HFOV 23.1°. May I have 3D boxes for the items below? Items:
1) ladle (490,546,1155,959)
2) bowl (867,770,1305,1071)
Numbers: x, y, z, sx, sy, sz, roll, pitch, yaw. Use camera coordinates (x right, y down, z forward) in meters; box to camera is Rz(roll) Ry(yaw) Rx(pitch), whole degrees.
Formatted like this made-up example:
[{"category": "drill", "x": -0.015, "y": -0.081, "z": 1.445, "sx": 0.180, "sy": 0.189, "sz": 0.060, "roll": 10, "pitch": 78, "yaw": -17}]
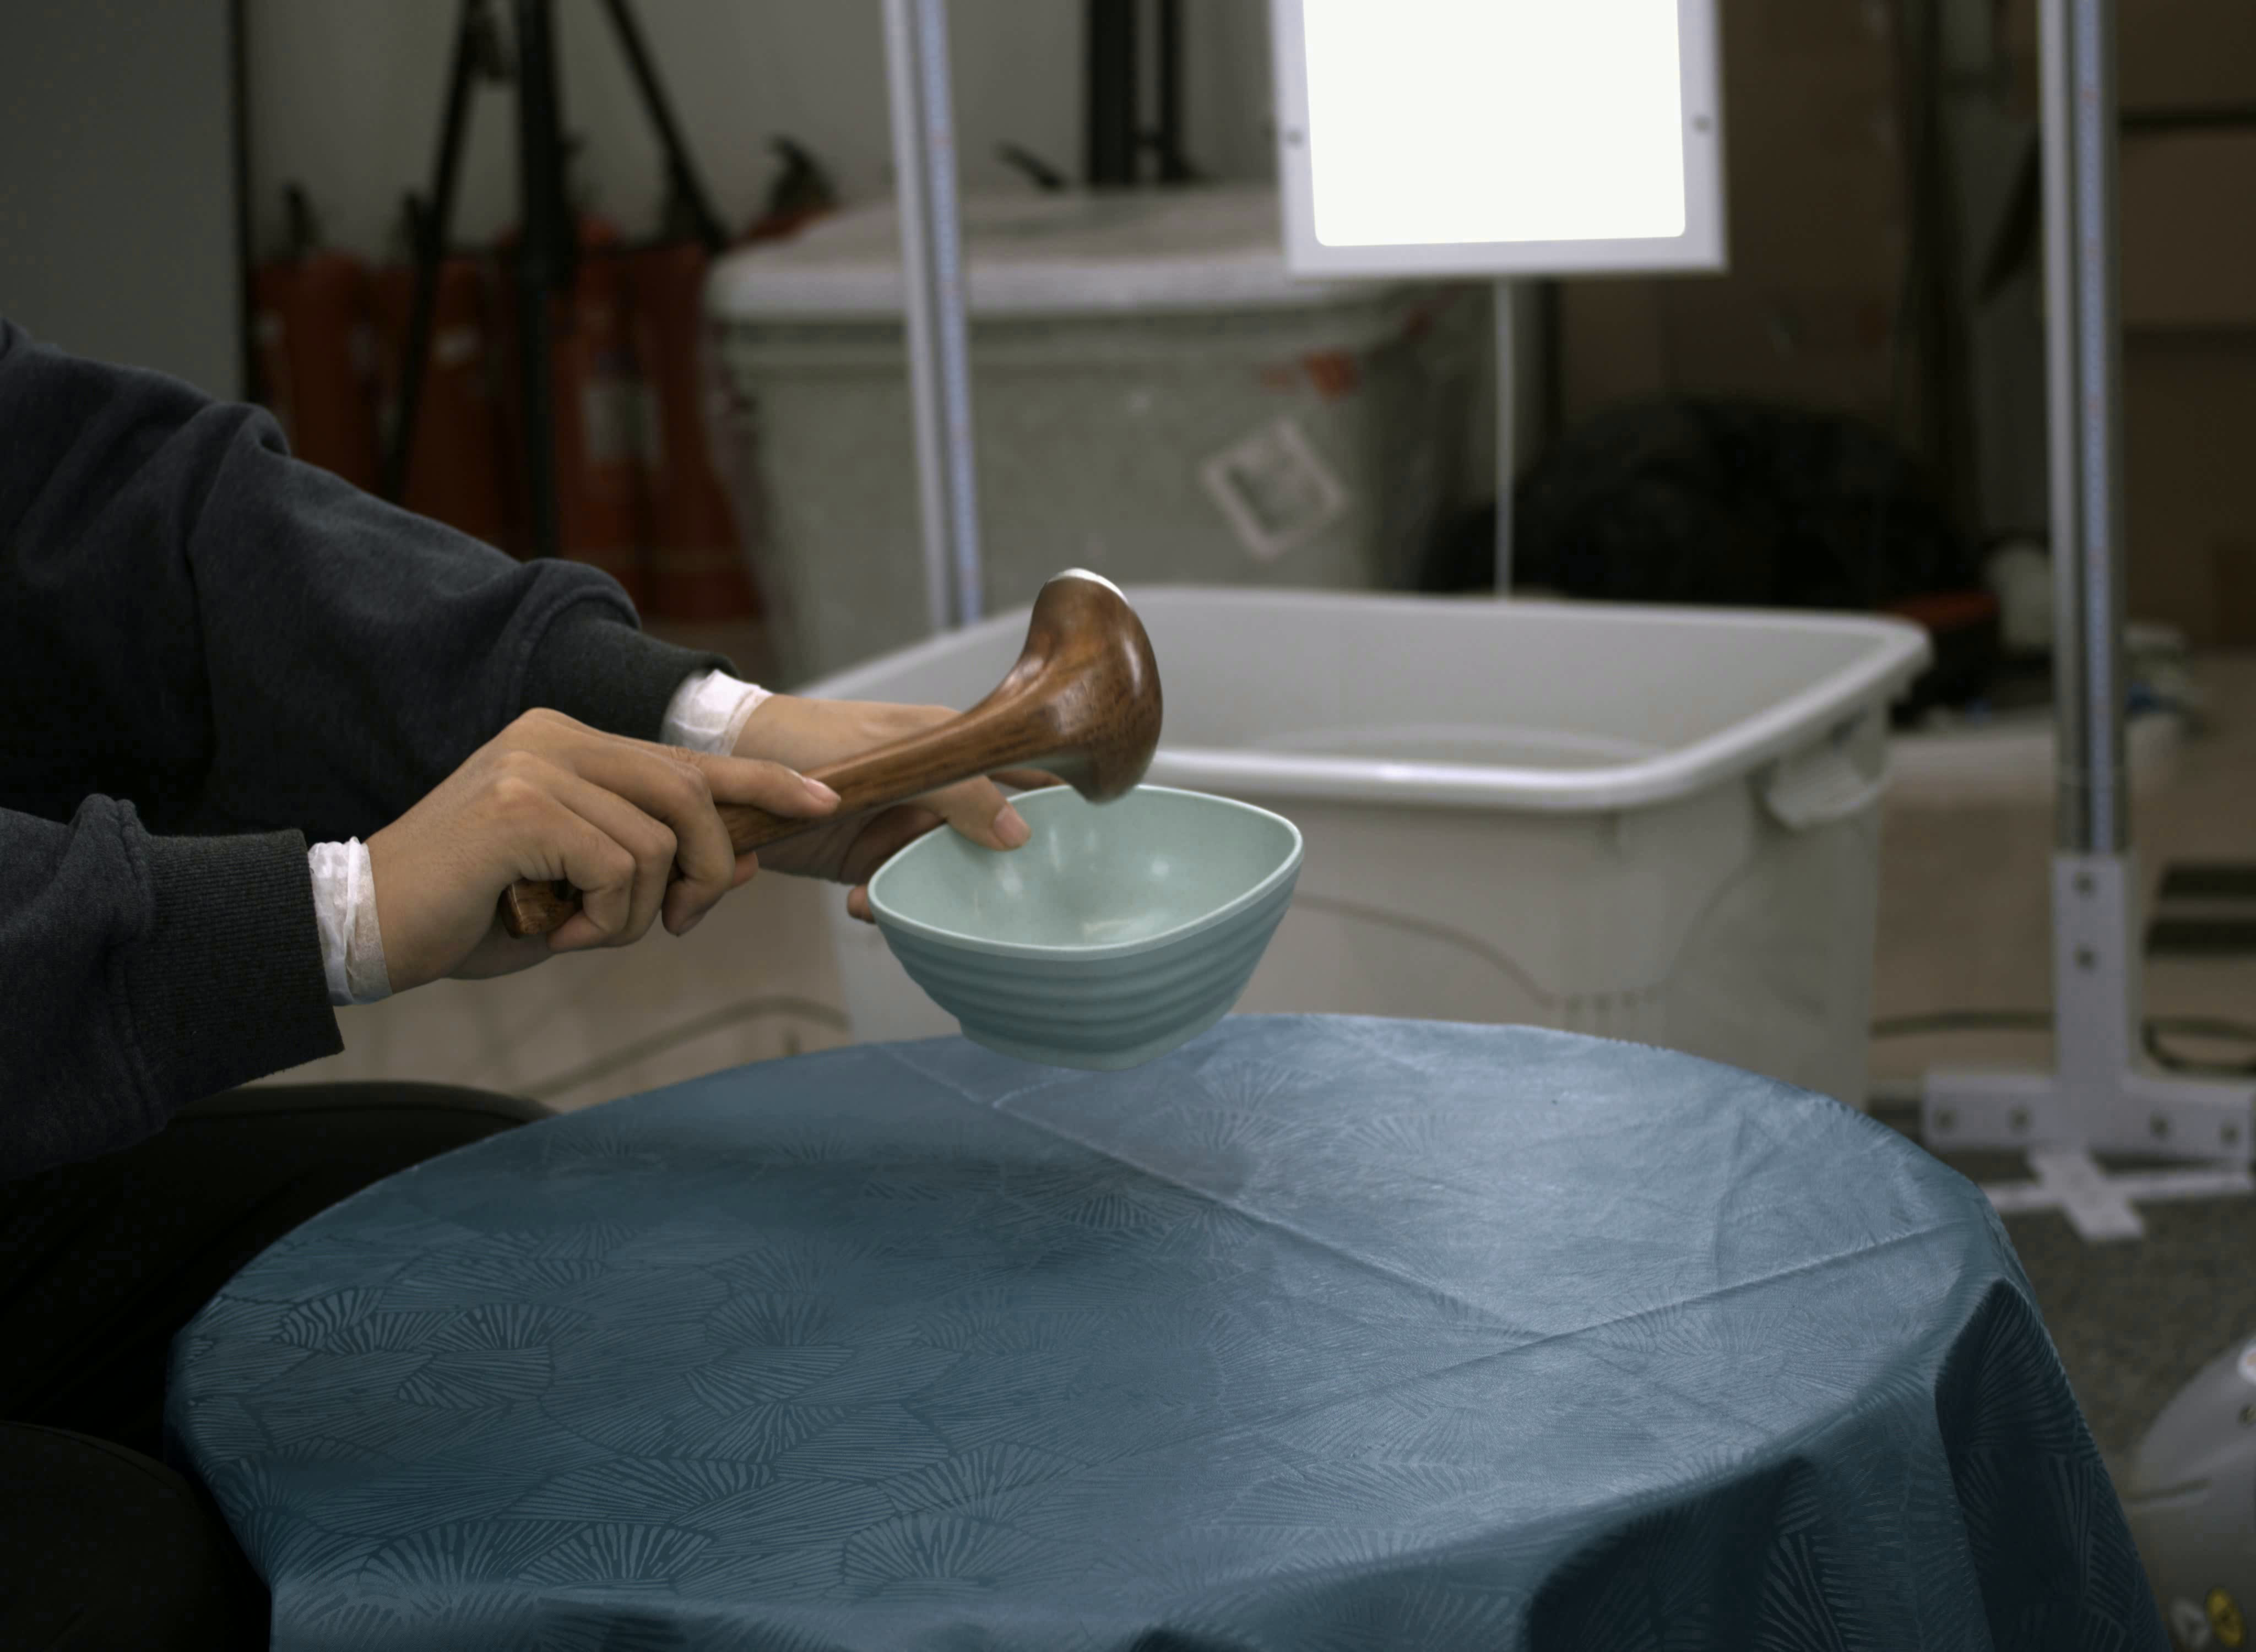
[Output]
[{"category": "ladle", "x": -0.101, "y": -0.019, "z": 1.783, "sx": 0.268, "sy": 0.082, "sz": 0.078, "roll": -22, "pitch": 12, "yaw": -27}, {"category": "bowl", "x": -0.013, "y": 0.037, "z": 1.890, "sx": 0.151, "sy": 0.059, "sz": 0.151, "roll": -3, "pitch": 25, "yaw": 0}]
